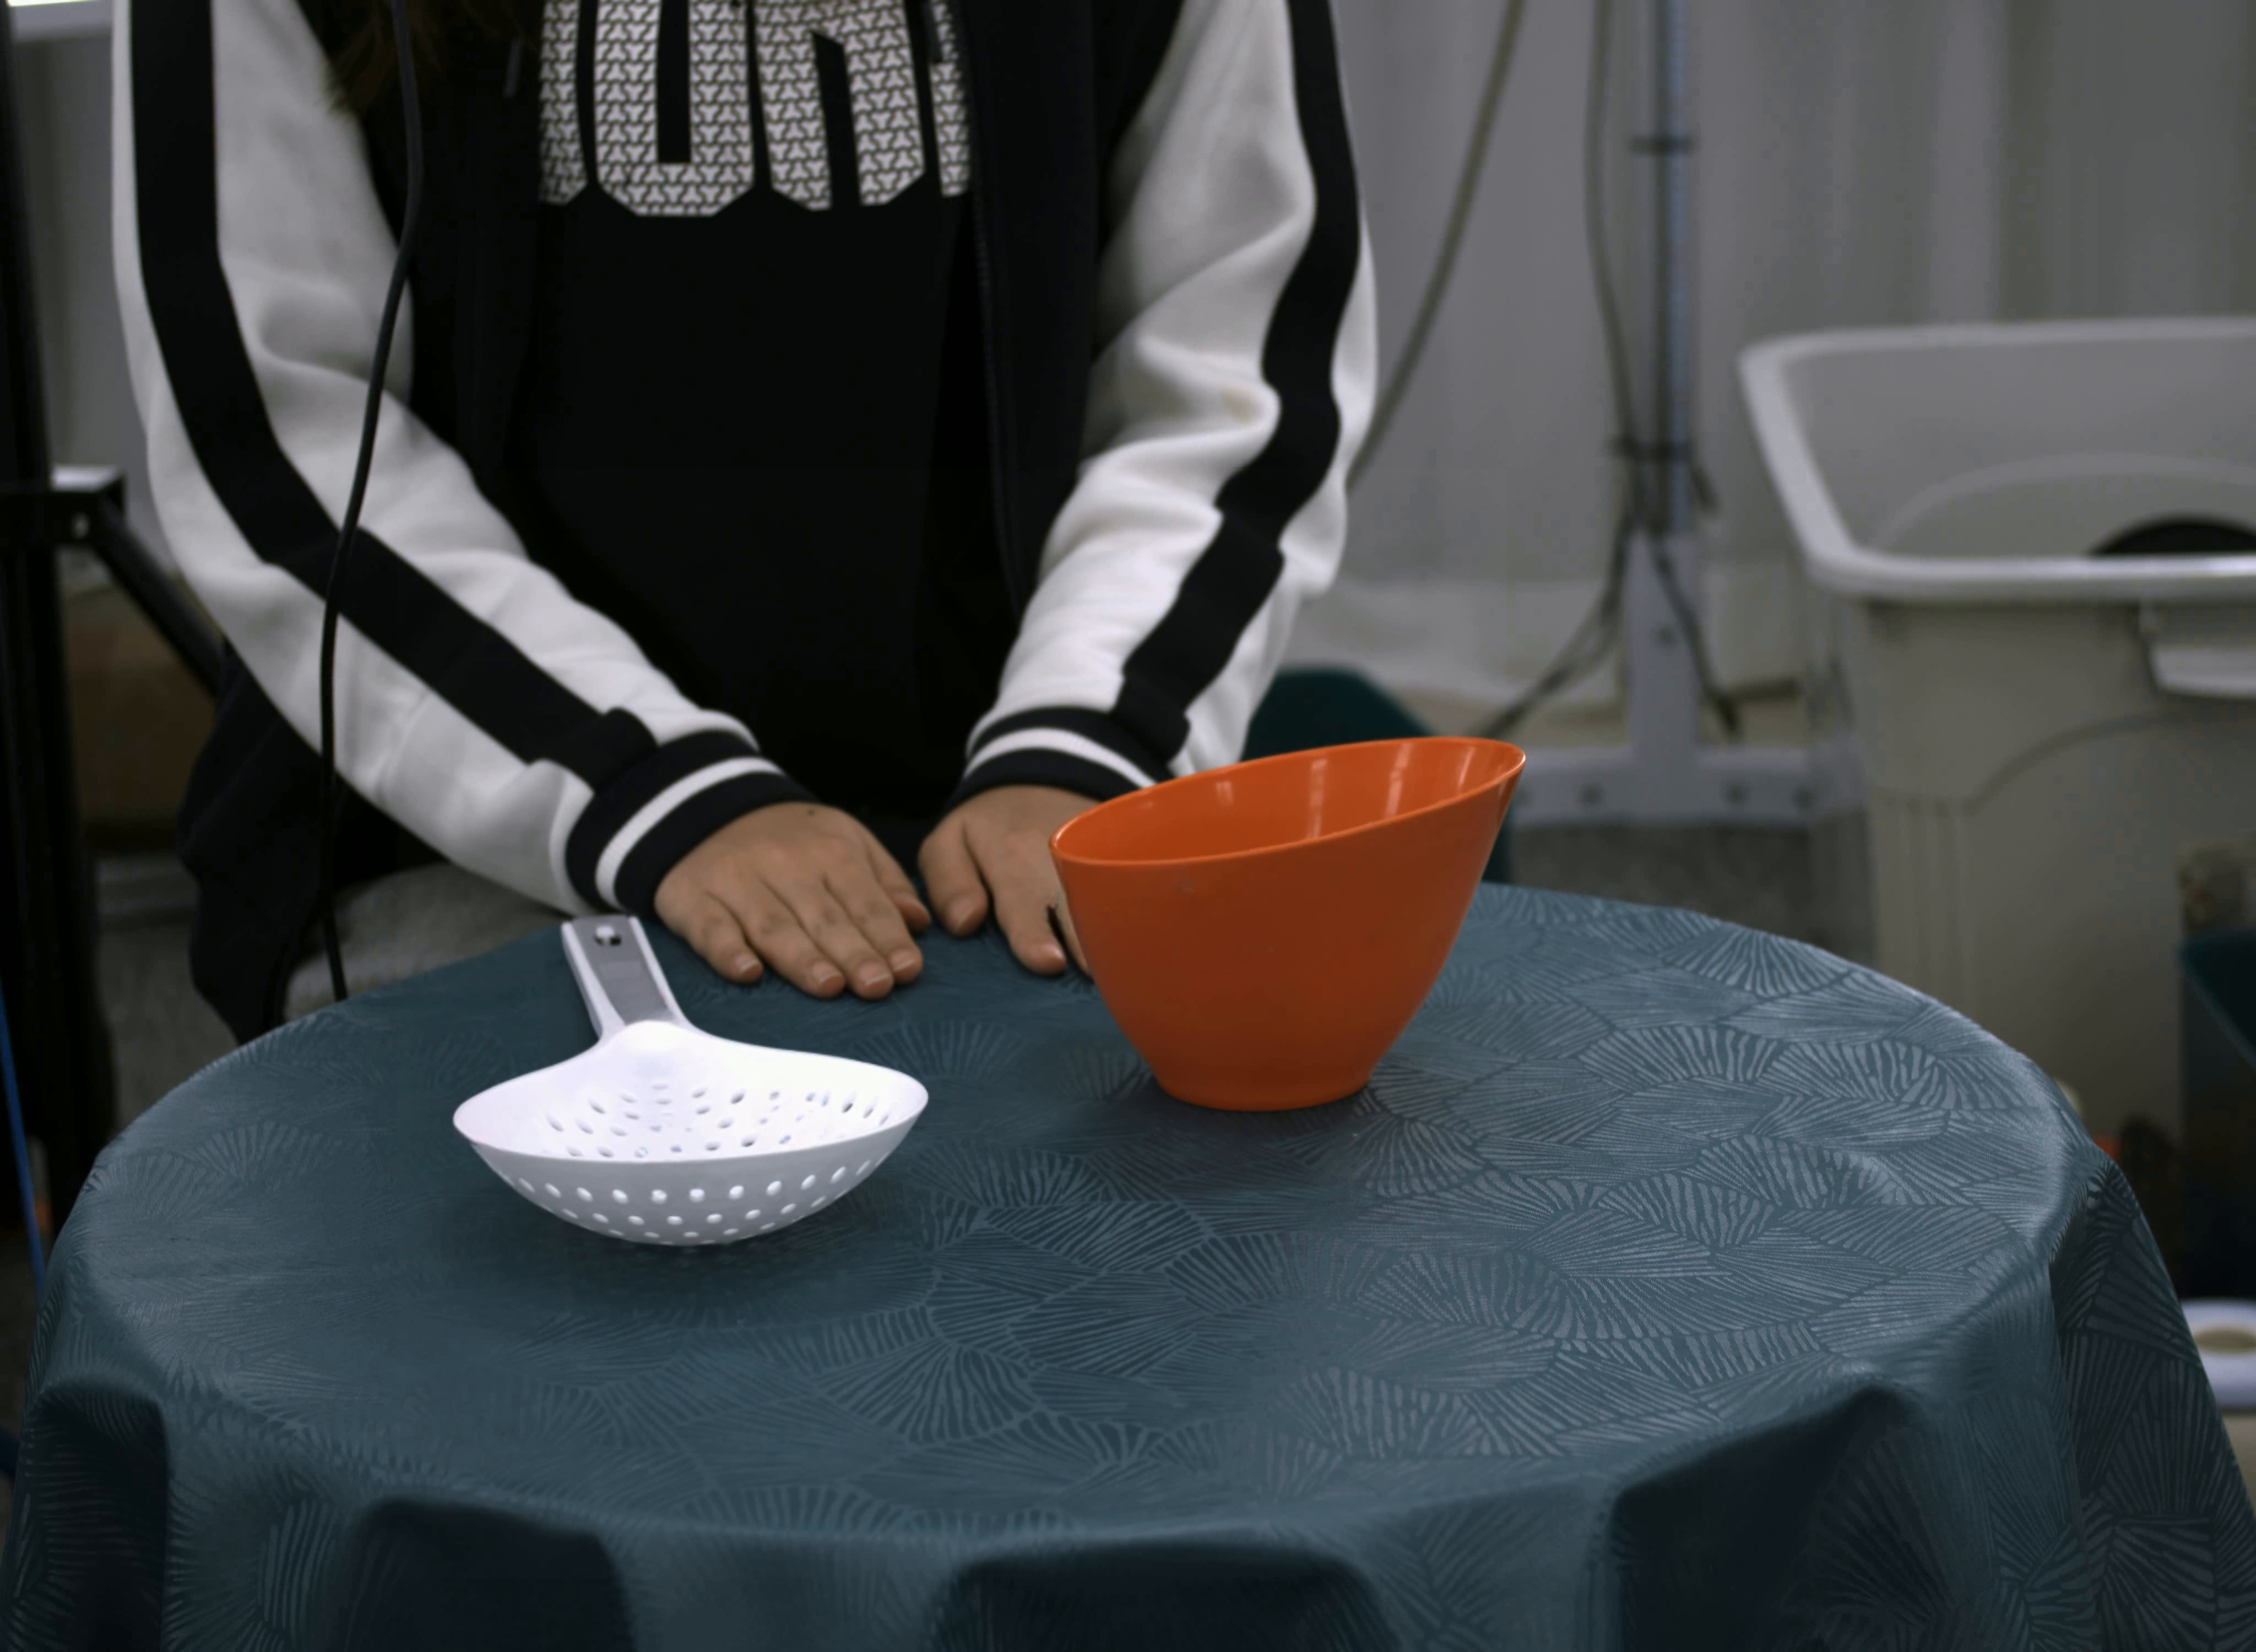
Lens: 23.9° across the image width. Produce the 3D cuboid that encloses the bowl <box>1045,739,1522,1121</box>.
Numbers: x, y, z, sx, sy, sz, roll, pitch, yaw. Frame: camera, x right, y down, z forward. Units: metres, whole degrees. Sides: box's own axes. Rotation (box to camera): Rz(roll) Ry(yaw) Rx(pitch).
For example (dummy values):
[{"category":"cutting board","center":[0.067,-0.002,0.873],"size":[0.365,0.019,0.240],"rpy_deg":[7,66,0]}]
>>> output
[{"category":"bowl","center":[0.050,0.033,1.634],"size":[0.147,0.104,0.149],"rpy_deg":[-4,16,0]}]

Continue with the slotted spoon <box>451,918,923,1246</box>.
[{"category":"slotted spoon","center":[-0.146,0.069,1.638],"size":[0.134,0.046,0.354],"rpy_deg":[-4,15,-10]}]
